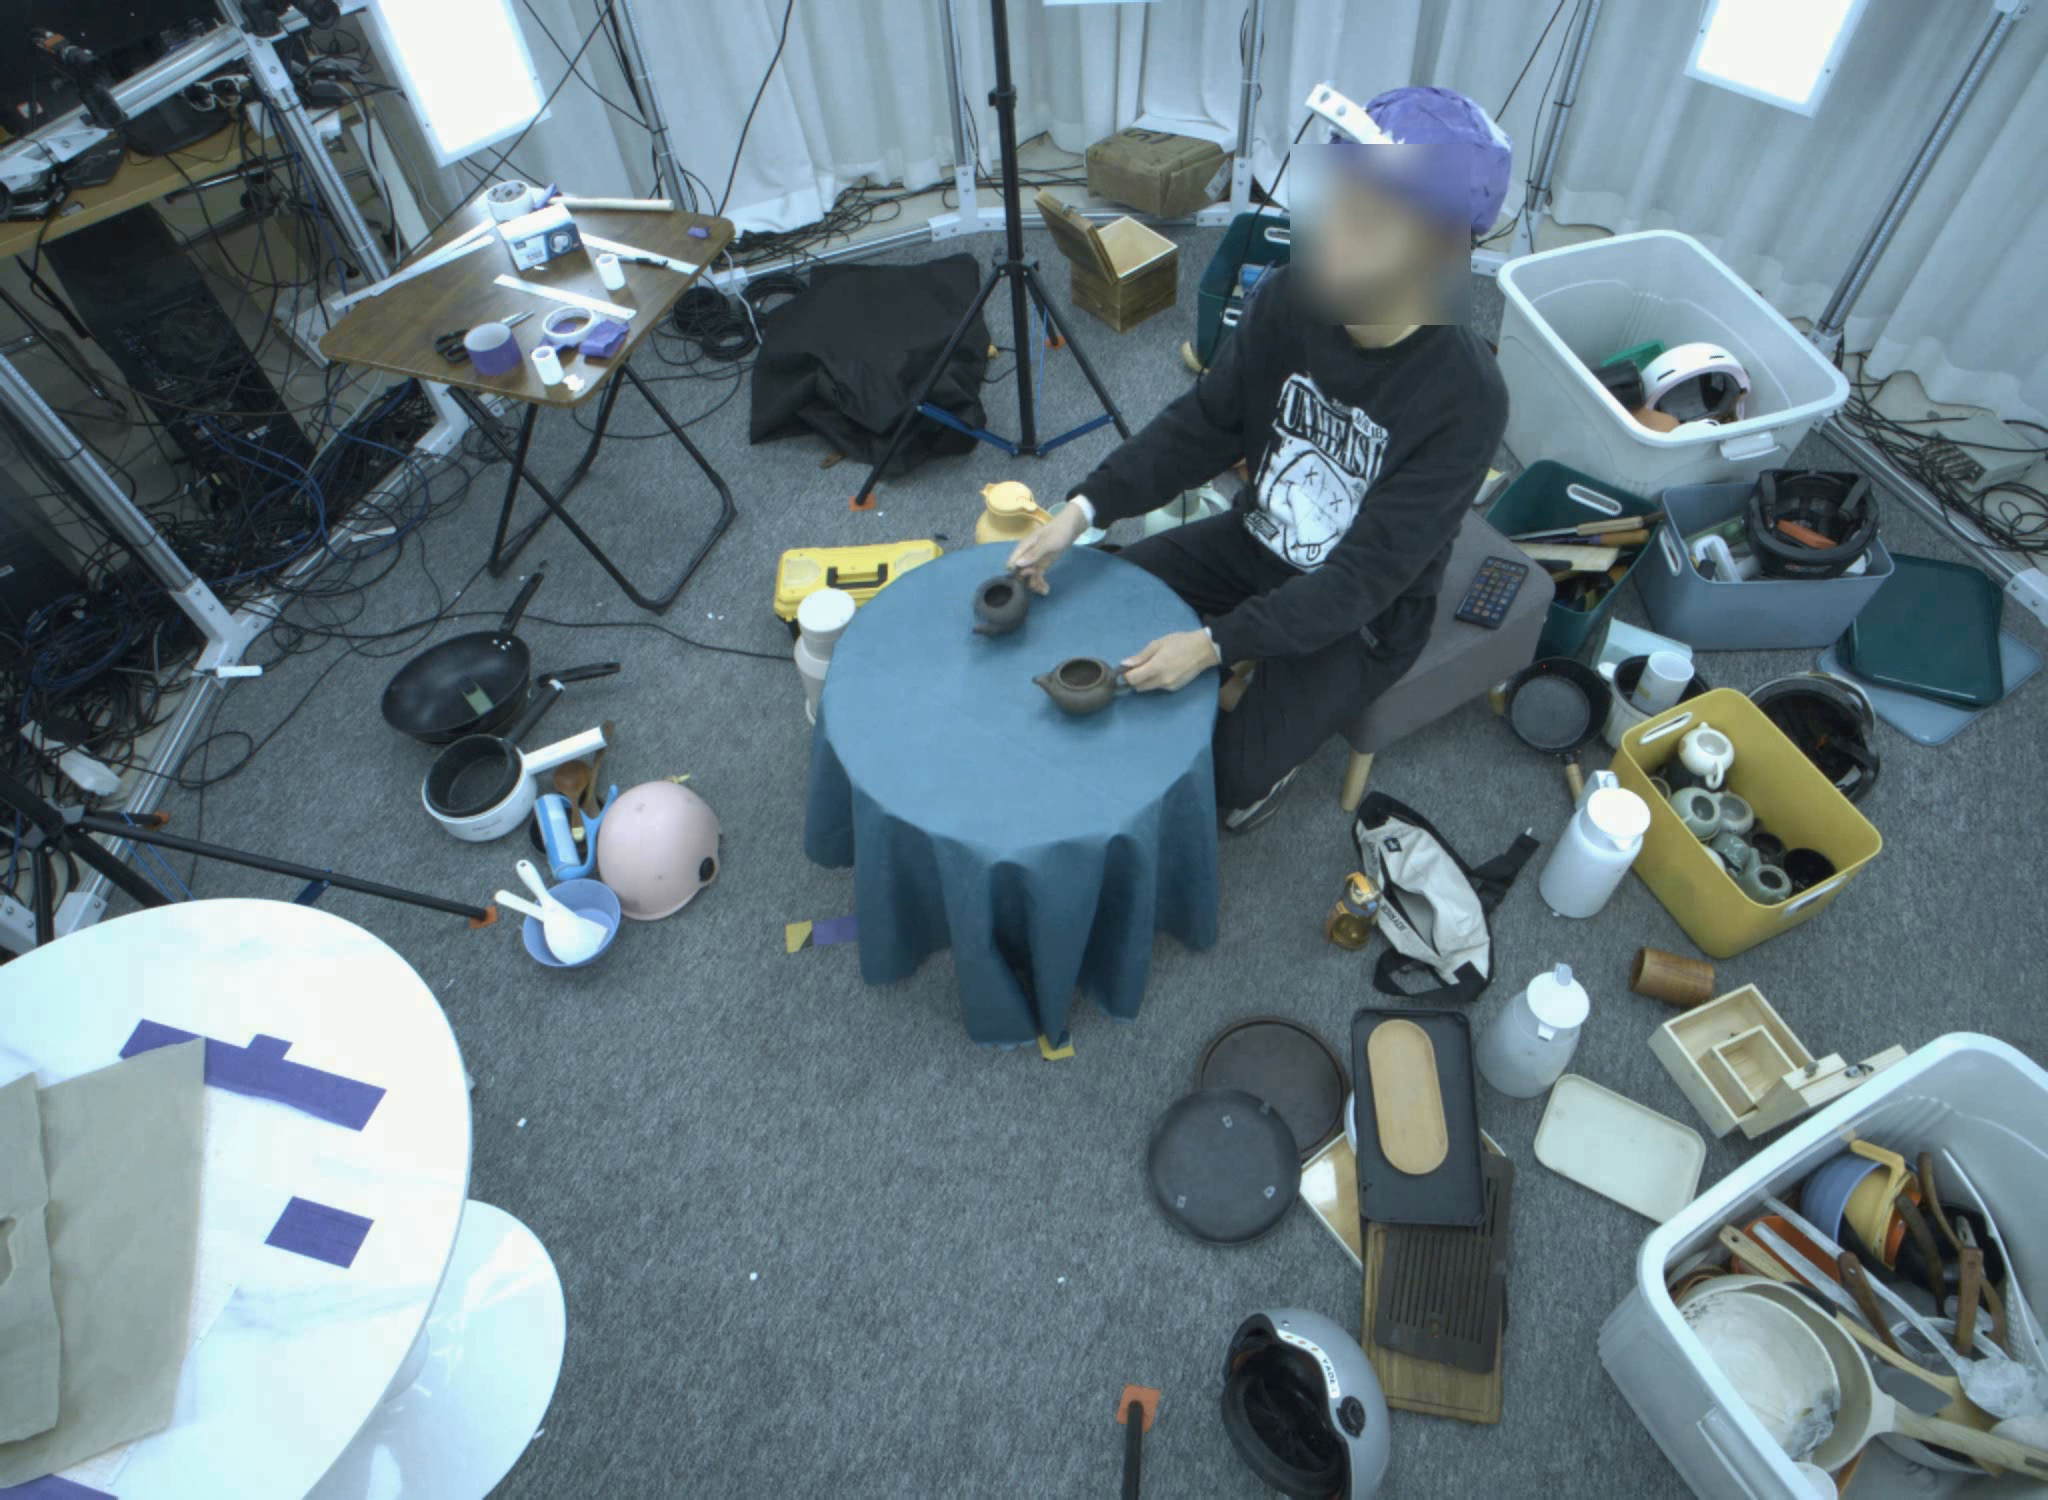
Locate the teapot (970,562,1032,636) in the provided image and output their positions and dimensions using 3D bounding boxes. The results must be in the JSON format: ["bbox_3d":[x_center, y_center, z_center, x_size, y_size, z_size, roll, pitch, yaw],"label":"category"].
[{"bbox_3d":[-0.035,-0.228,1.899,0.090,0.065,0.154,26,71,25],"label":"teapot"}]

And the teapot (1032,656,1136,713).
[{"bbox_3d":[0.089,-0.099,1.813,0.154,0.054,0.101,-13,48,-6],"label":"teapot"}]
